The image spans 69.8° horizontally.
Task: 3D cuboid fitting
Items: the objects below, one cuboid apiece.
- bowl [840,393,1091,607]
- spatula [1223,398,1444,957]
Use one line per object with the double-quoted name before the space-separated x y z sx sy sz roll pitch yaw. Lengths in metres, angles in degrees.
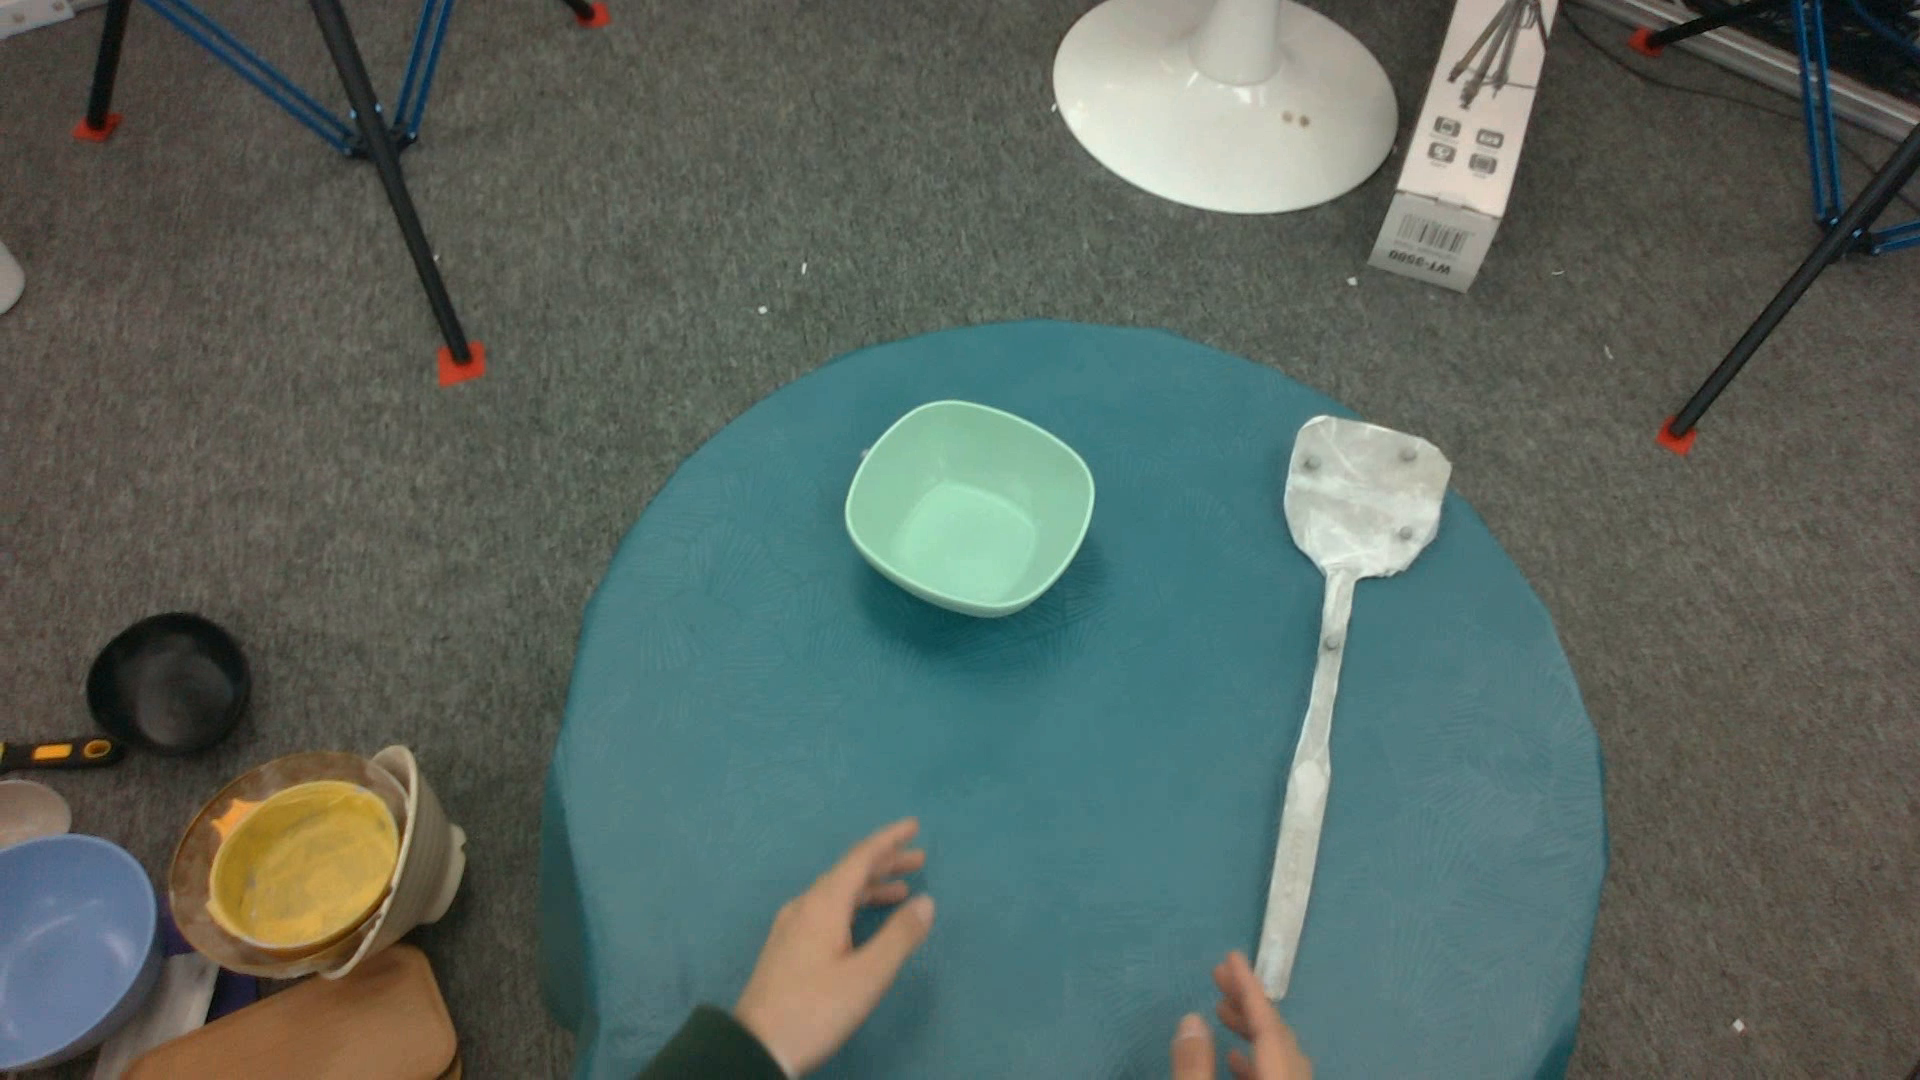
"bowl" 0.003 -0.015 0.830 0.151 0.058 0.152 2 55 -2
"spatula" 0.208 0.069 0.804 0.098 0.044 0.366 19 57 5
